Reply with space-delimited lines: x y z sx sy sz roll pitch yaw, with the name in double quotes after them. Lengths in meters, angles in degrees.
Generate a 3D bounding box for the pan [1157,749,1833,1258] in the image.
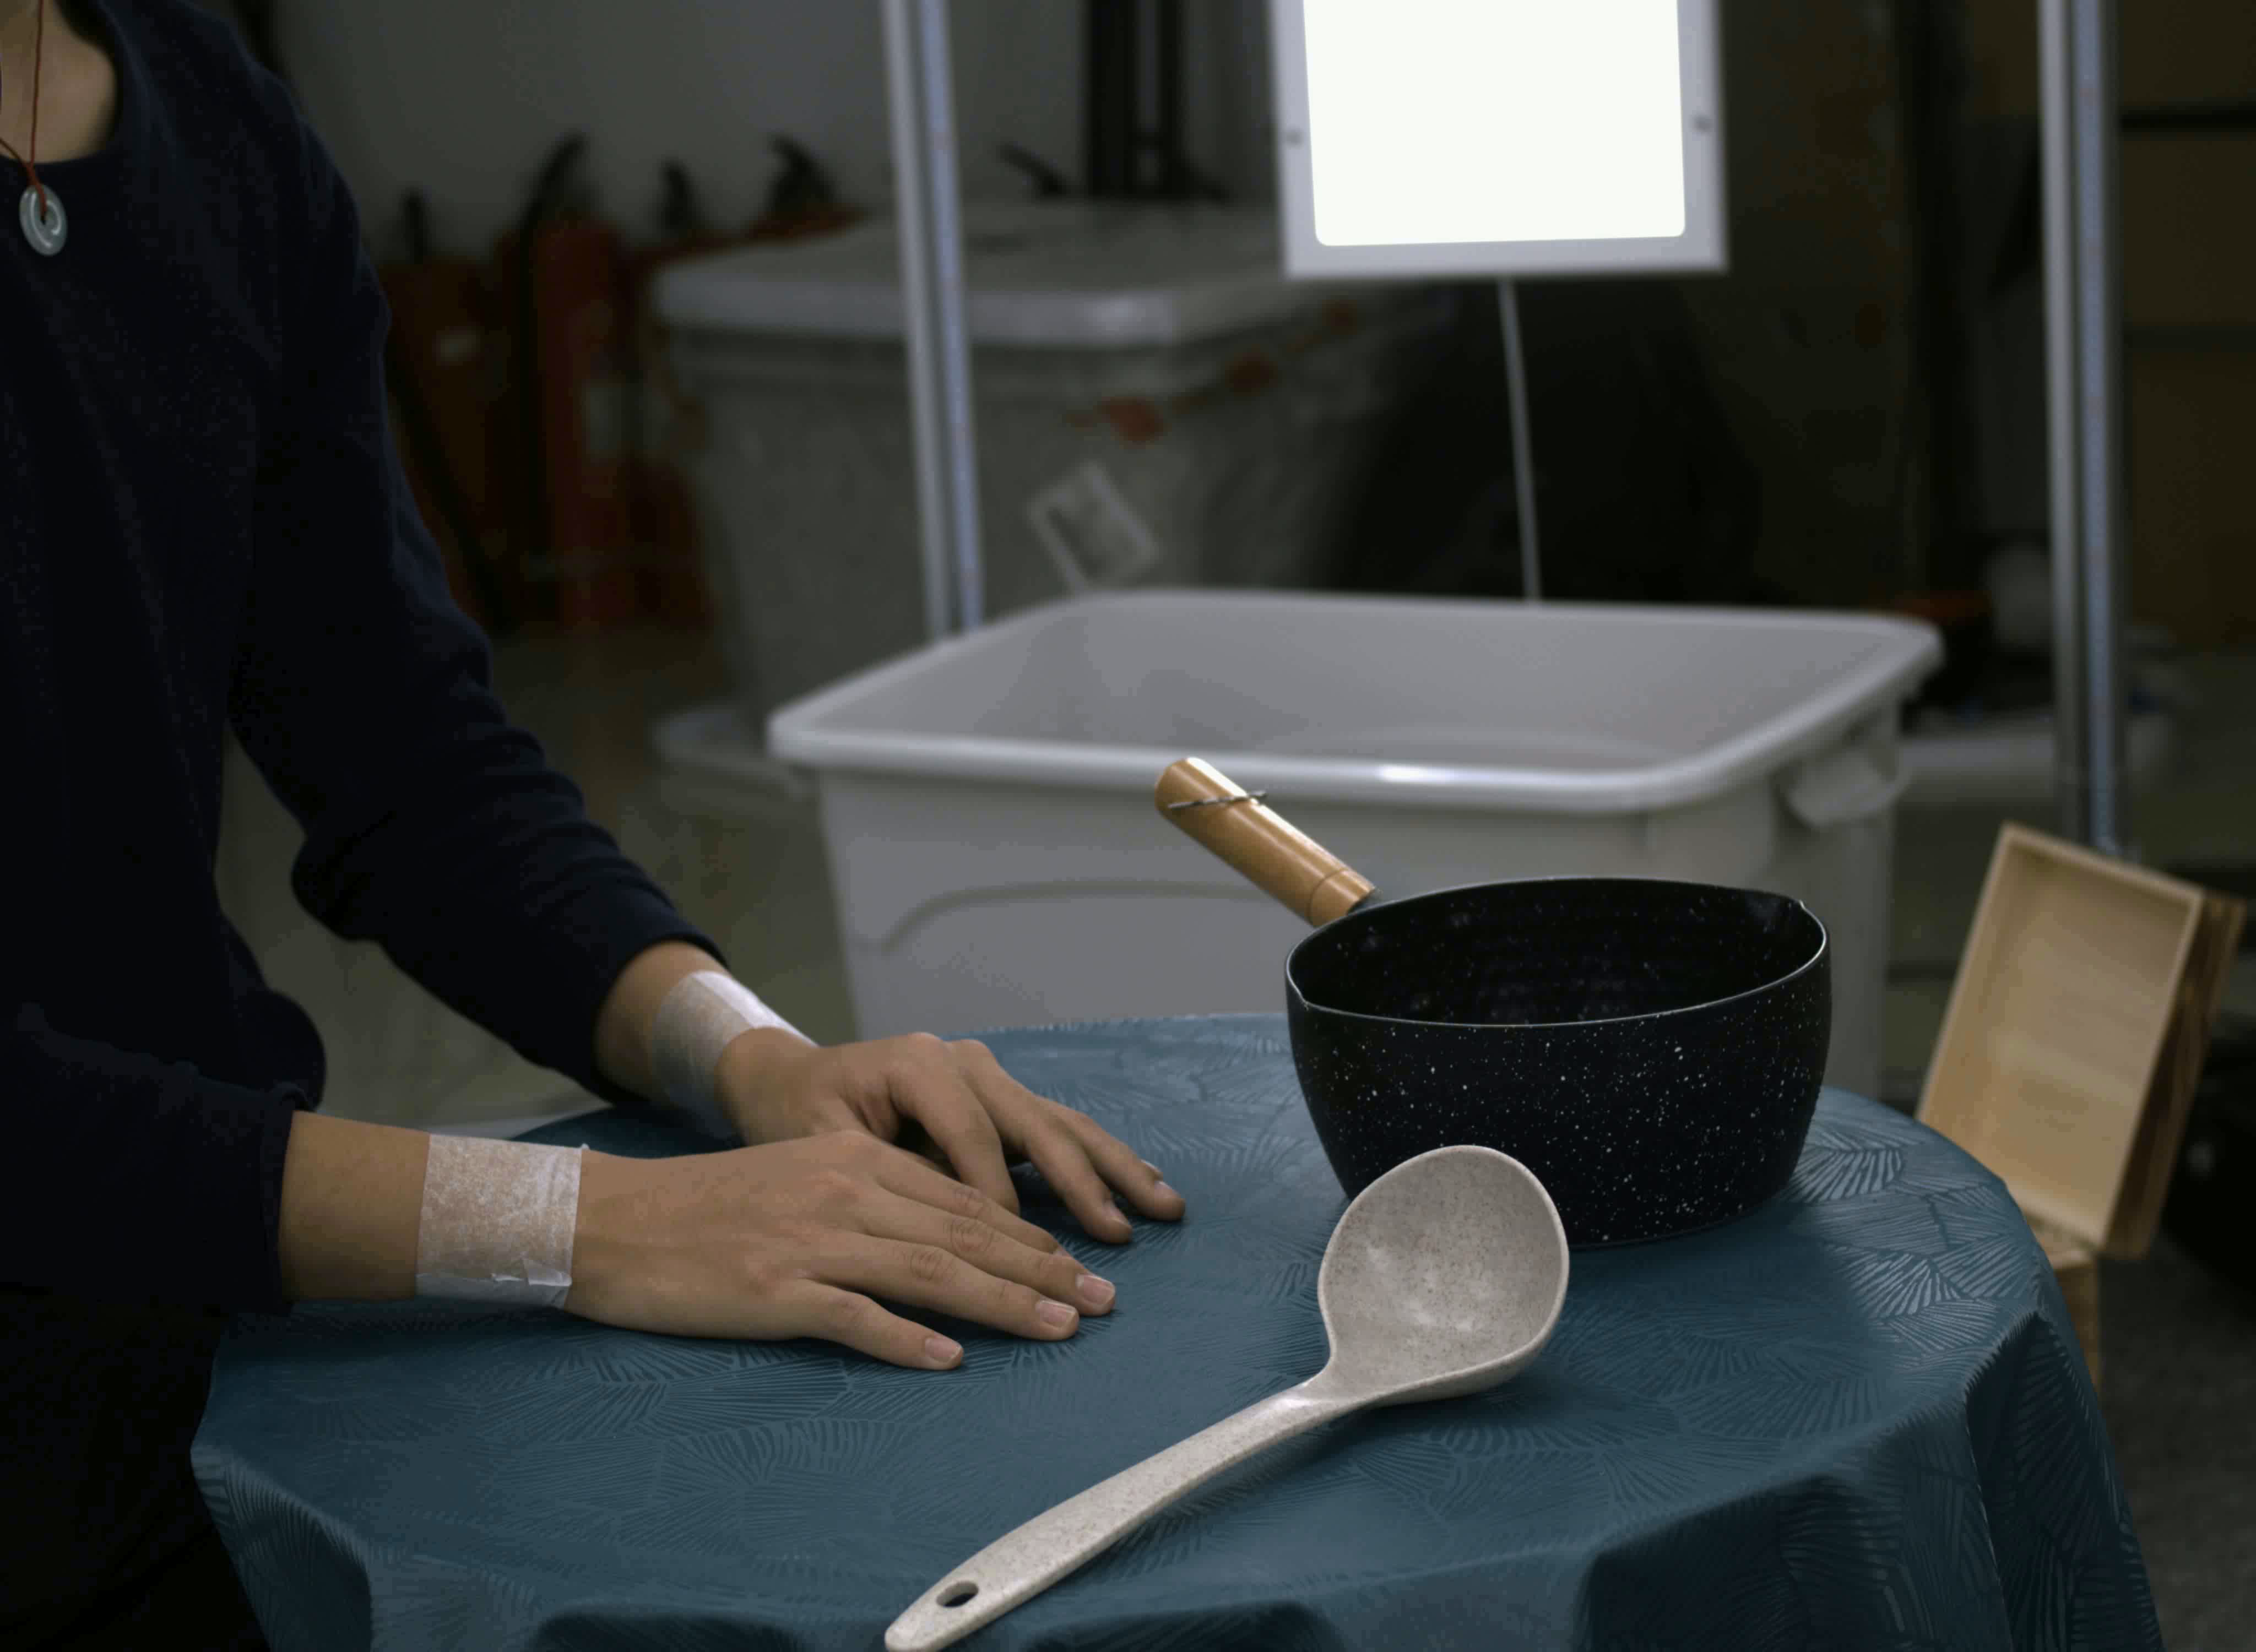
0.105 0.056 1.919 0.203 0.108 0.349 -14 18 -28 "pan"

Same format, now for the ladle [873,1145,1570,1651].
0.024 0.165 1.603 0.091 0.070 0.268 19 28 40 "ladle"
